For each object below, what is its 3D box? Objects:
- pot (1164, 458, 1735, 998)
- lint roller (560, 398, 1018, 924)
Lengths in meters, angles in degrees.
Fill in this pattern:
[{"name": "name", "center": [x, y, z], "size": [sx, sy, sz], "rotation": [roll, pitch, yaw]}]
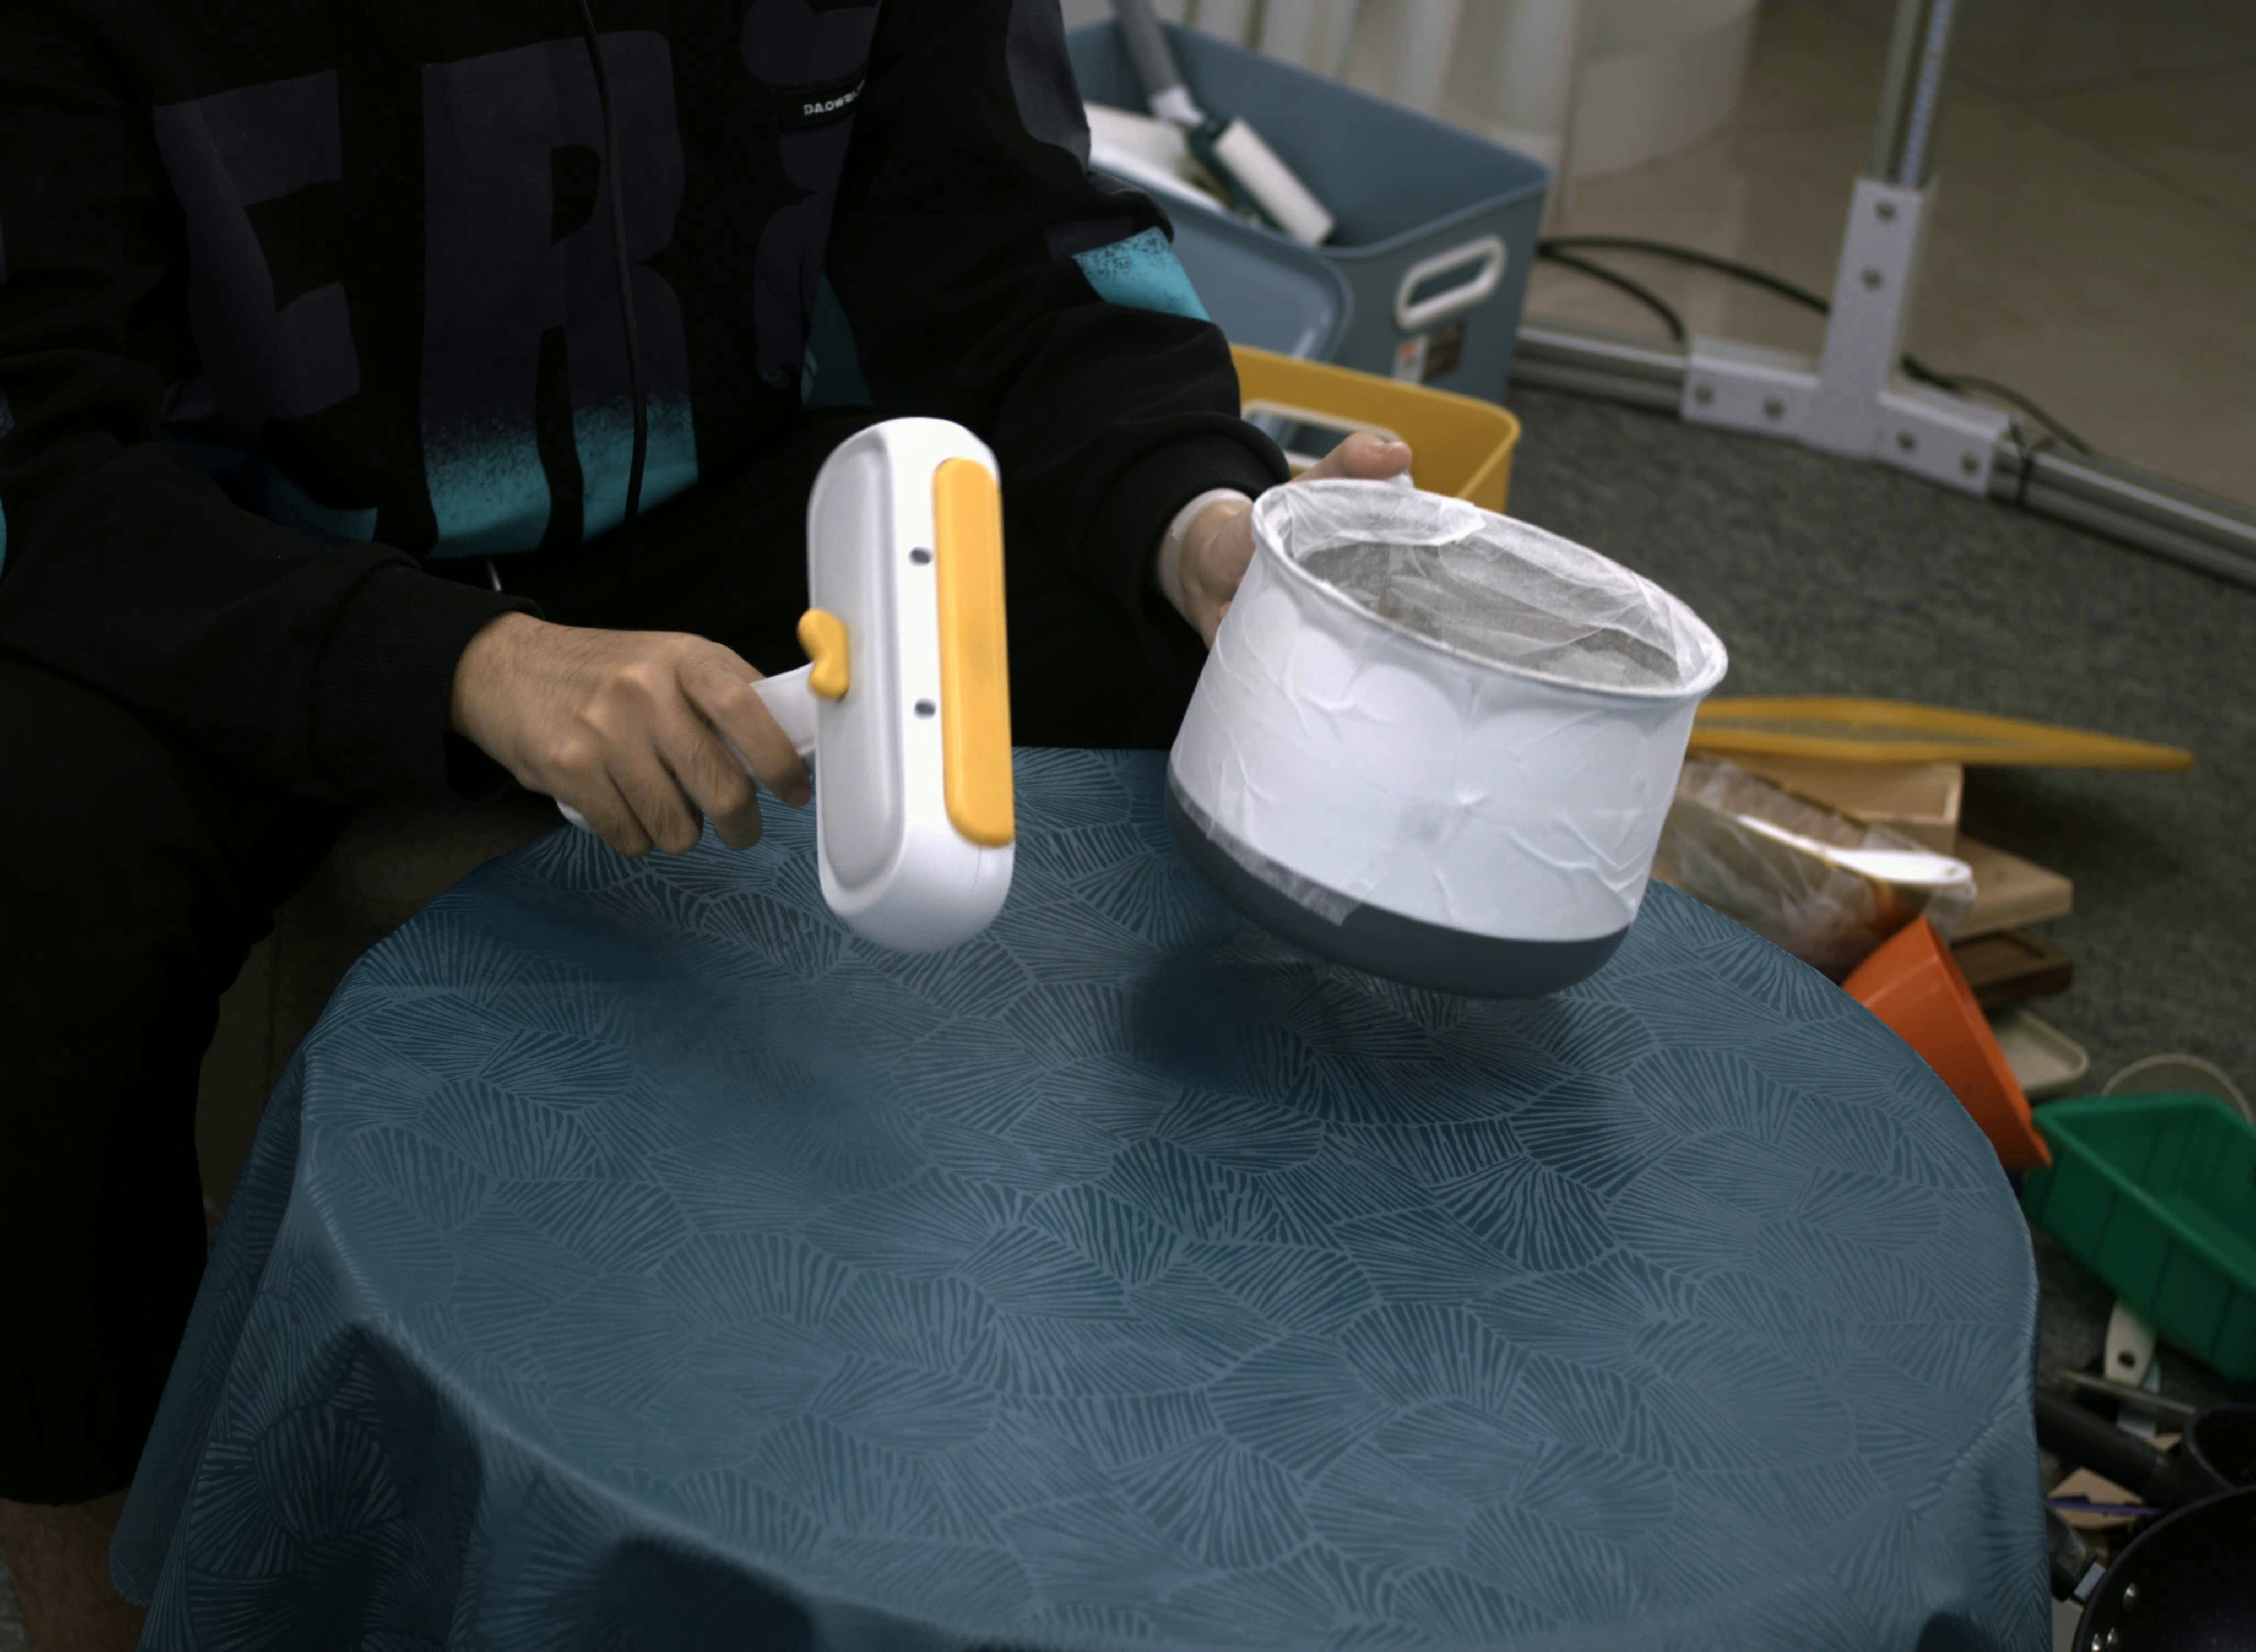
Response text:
[{"name": "pot", "center": [0.101, -0.043, 1.912], "size": [0.177, 0.136, 0.236], "rotation": [11, 22, -24]}, {"name": "lint roller", "center": [-0.120, -0.037, 1.874], "size": [0.073, 0.192, 0.194], "rotation": [17, 55, -42]}]
